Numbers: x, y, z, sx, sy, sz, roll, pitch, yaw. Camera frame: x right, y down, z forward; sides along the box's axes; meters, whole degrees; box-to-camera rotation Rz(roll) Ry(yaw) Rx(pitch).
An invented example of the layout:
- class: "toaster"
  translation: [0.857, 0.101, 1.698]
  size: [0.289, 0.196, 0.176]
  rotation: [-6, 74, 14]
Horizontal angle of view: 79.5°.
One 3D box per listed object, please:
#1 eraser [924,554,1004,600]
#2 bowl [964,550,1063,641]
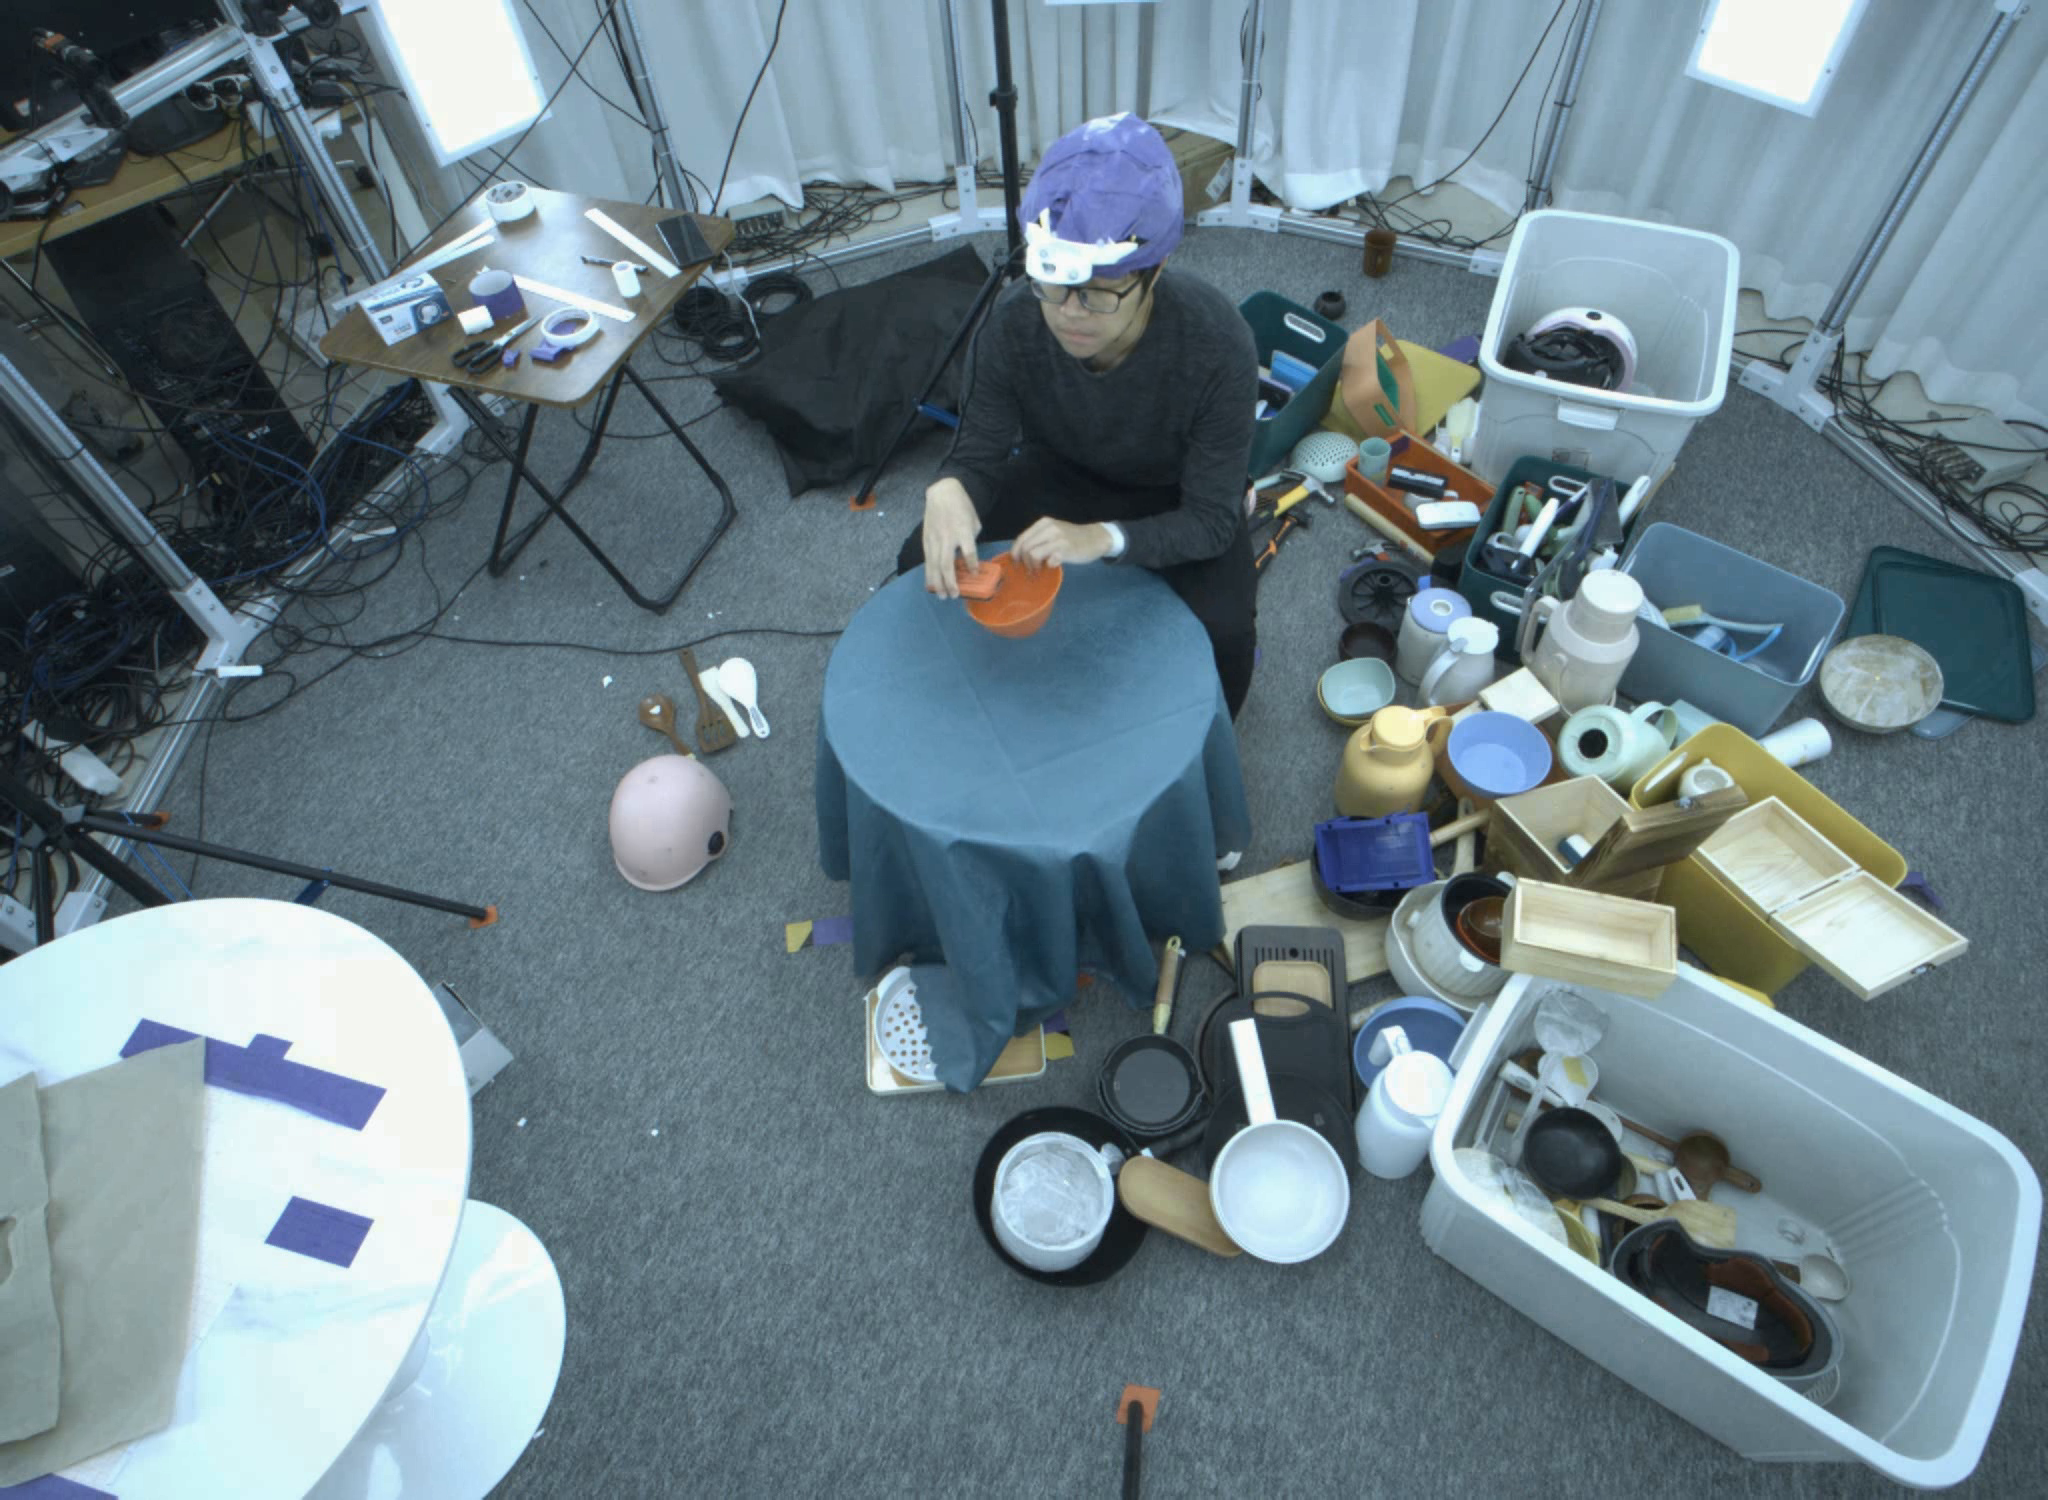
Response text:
- class: "eraser"
  translation: [-0.088, -0.251, 1.773]
  size: [0.106, 0.023, 0.059]
  rotation: [11, 61, 19]
- class: "bowl"
  translation: [-0.009, -0.211, 1.786]
  size: [0.147, 0.106, 0.146]
  rotation: [-5, 59, 9]
